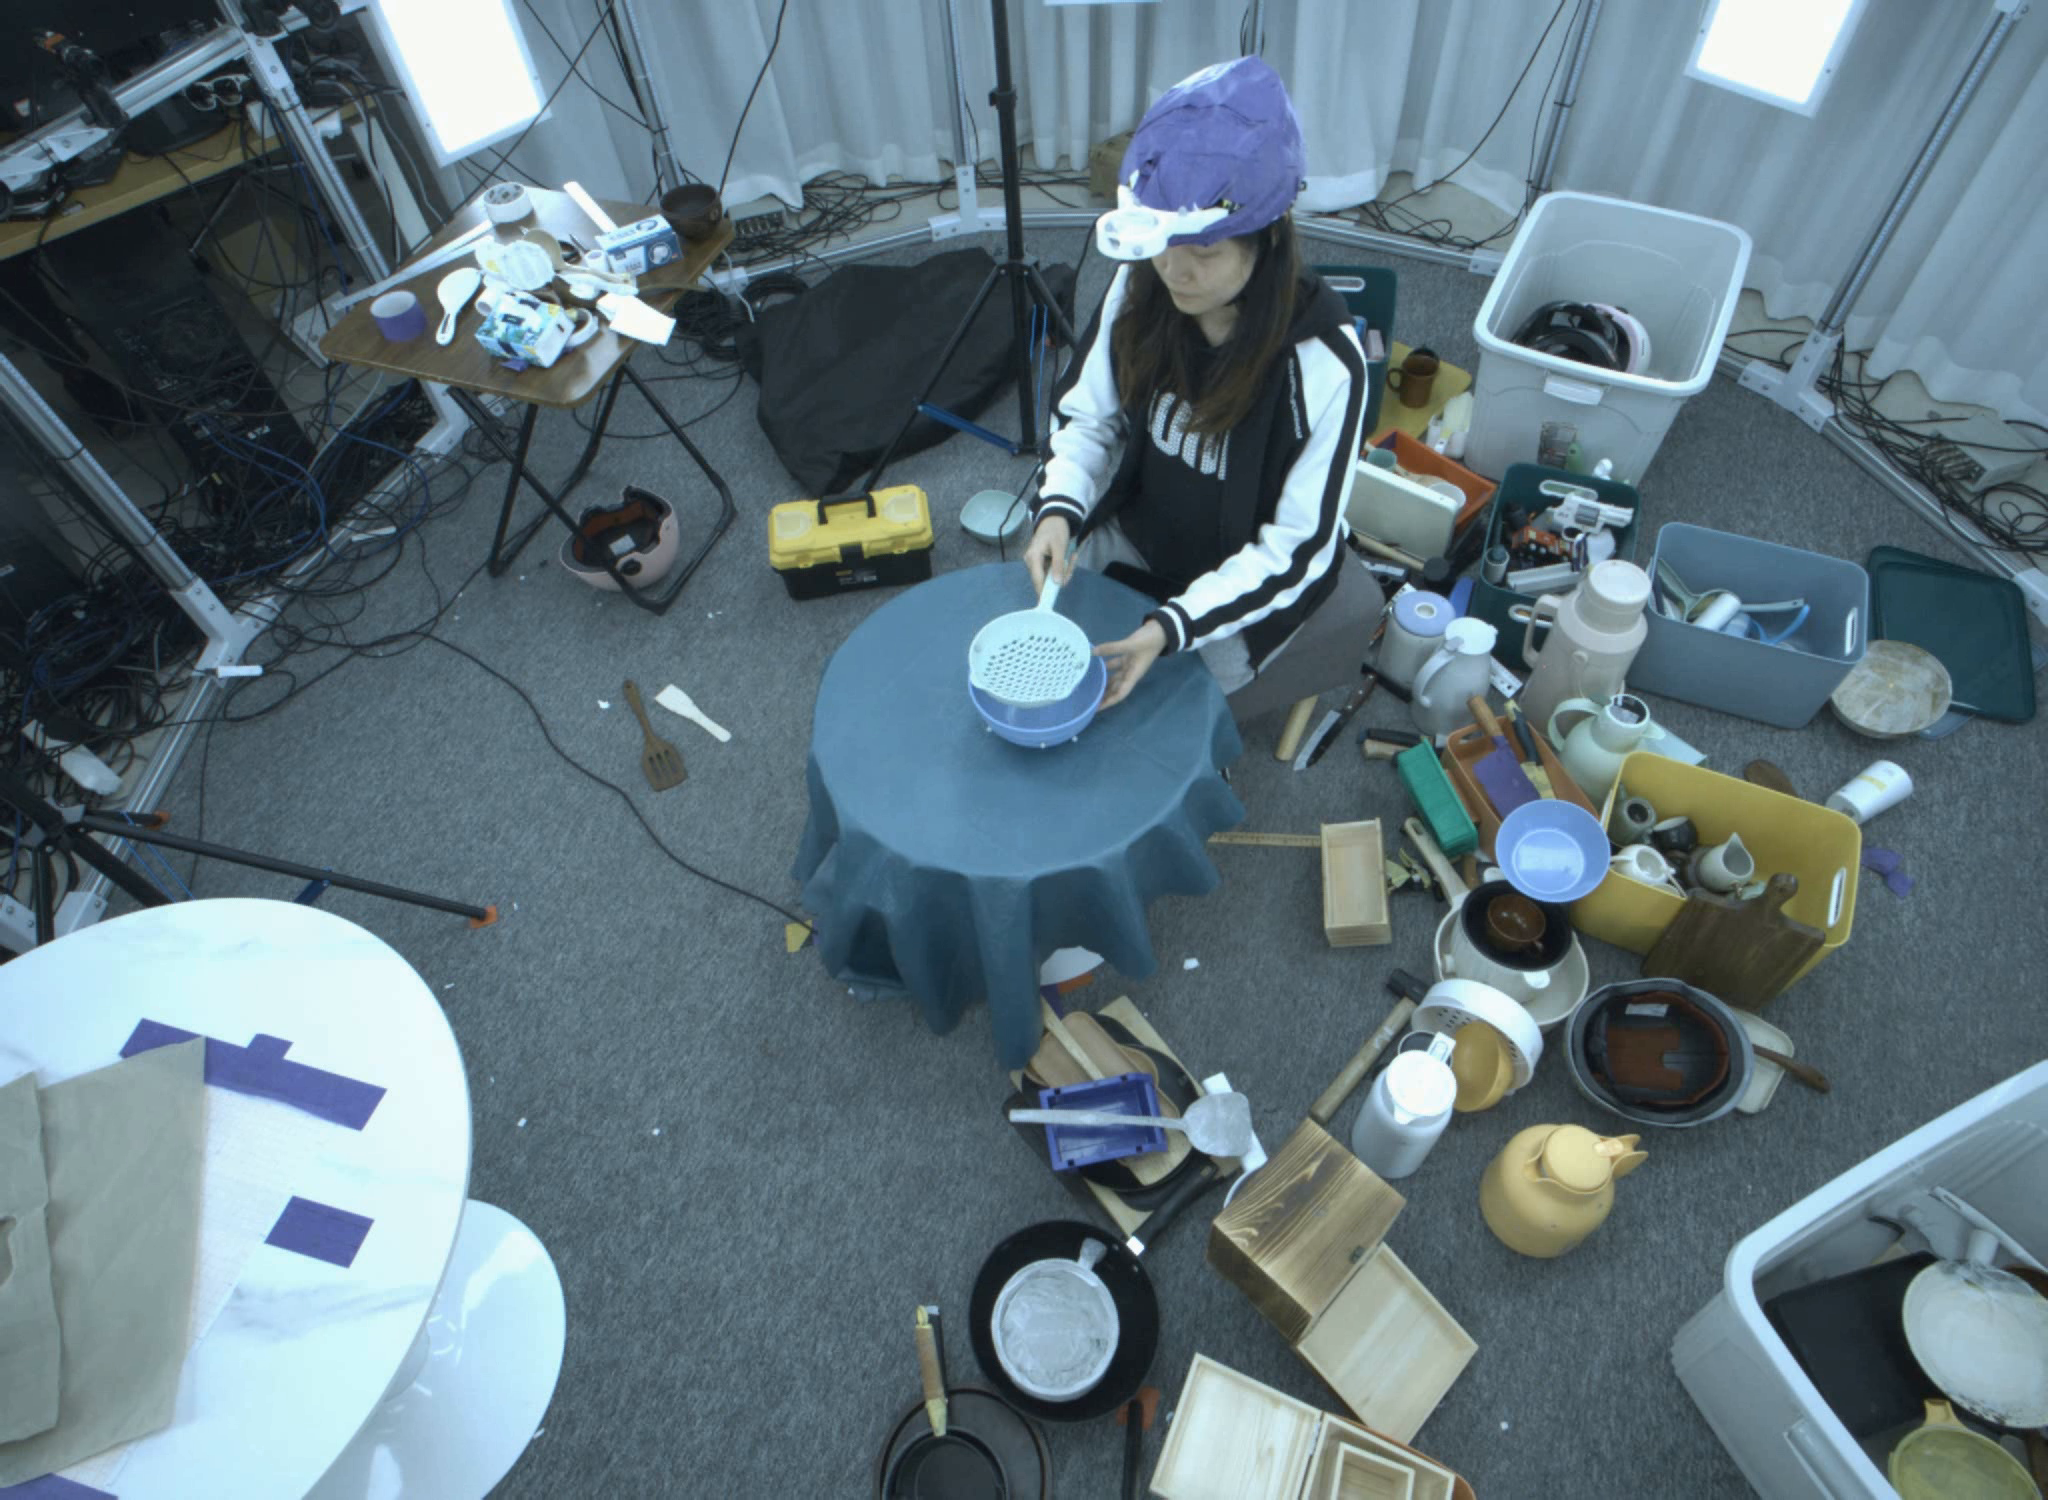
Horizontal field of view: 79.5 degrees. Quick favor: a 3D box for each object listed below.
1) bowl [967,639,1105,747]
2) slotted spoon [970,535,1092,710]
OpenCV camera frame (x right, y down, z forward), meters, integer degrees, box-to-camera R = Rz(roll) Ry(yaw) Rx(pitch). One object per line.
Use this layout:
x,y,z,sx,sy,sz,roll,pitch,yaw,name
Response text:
0.020,-0.077,1.783,0.196,0.096,0.194,-1,54,2,bowl
0.030,-0.198,1.773,0.169,0.076,0.357,12,61,4,slotted spoon
